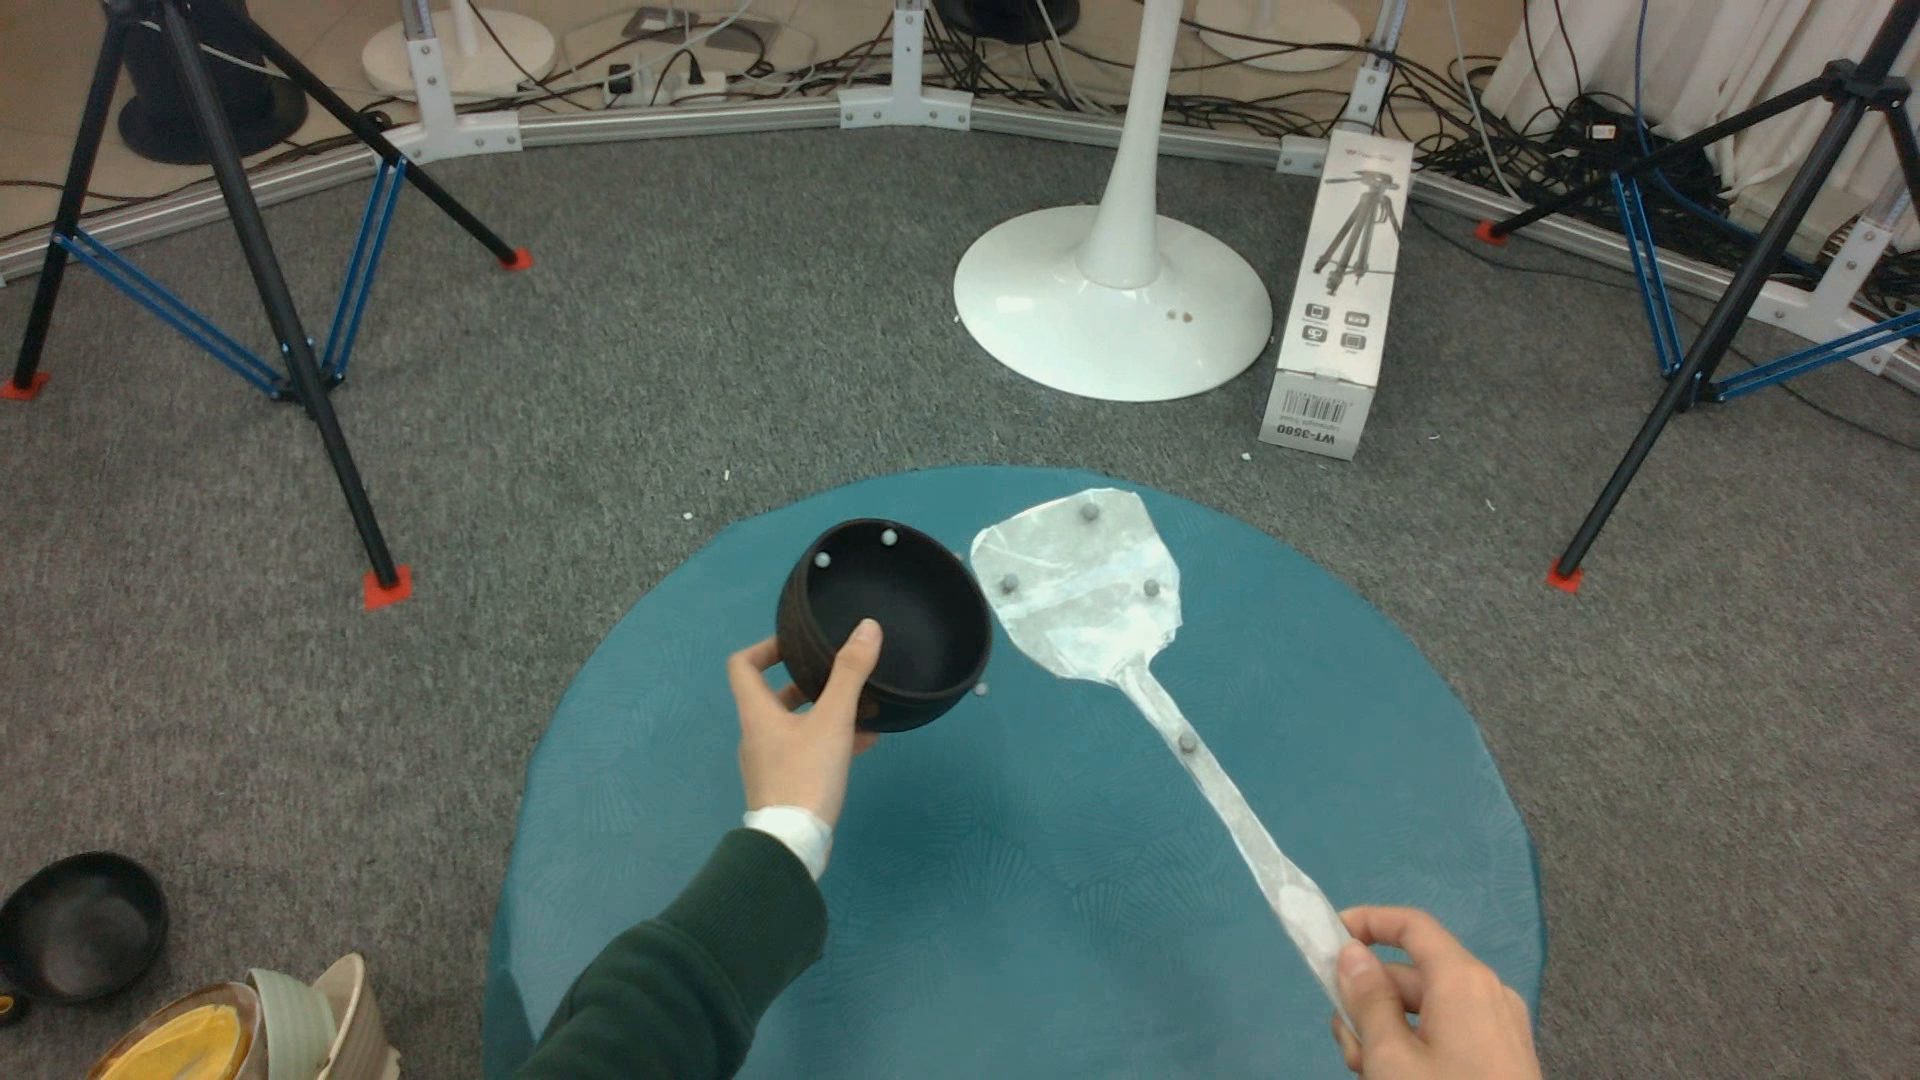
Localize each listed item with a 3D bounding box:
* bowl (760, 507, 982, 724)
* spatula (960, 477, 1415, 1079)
[{"bbox_3d":[-0.054,0.048,0.749,0.118,0.069,0.118,18,46,-20],"label":"bowl"},{"bbox_3d":[0.103,0.099,0.599,0.099,0.044,0.366,-16,43,-13],"label":"spatula"}]
